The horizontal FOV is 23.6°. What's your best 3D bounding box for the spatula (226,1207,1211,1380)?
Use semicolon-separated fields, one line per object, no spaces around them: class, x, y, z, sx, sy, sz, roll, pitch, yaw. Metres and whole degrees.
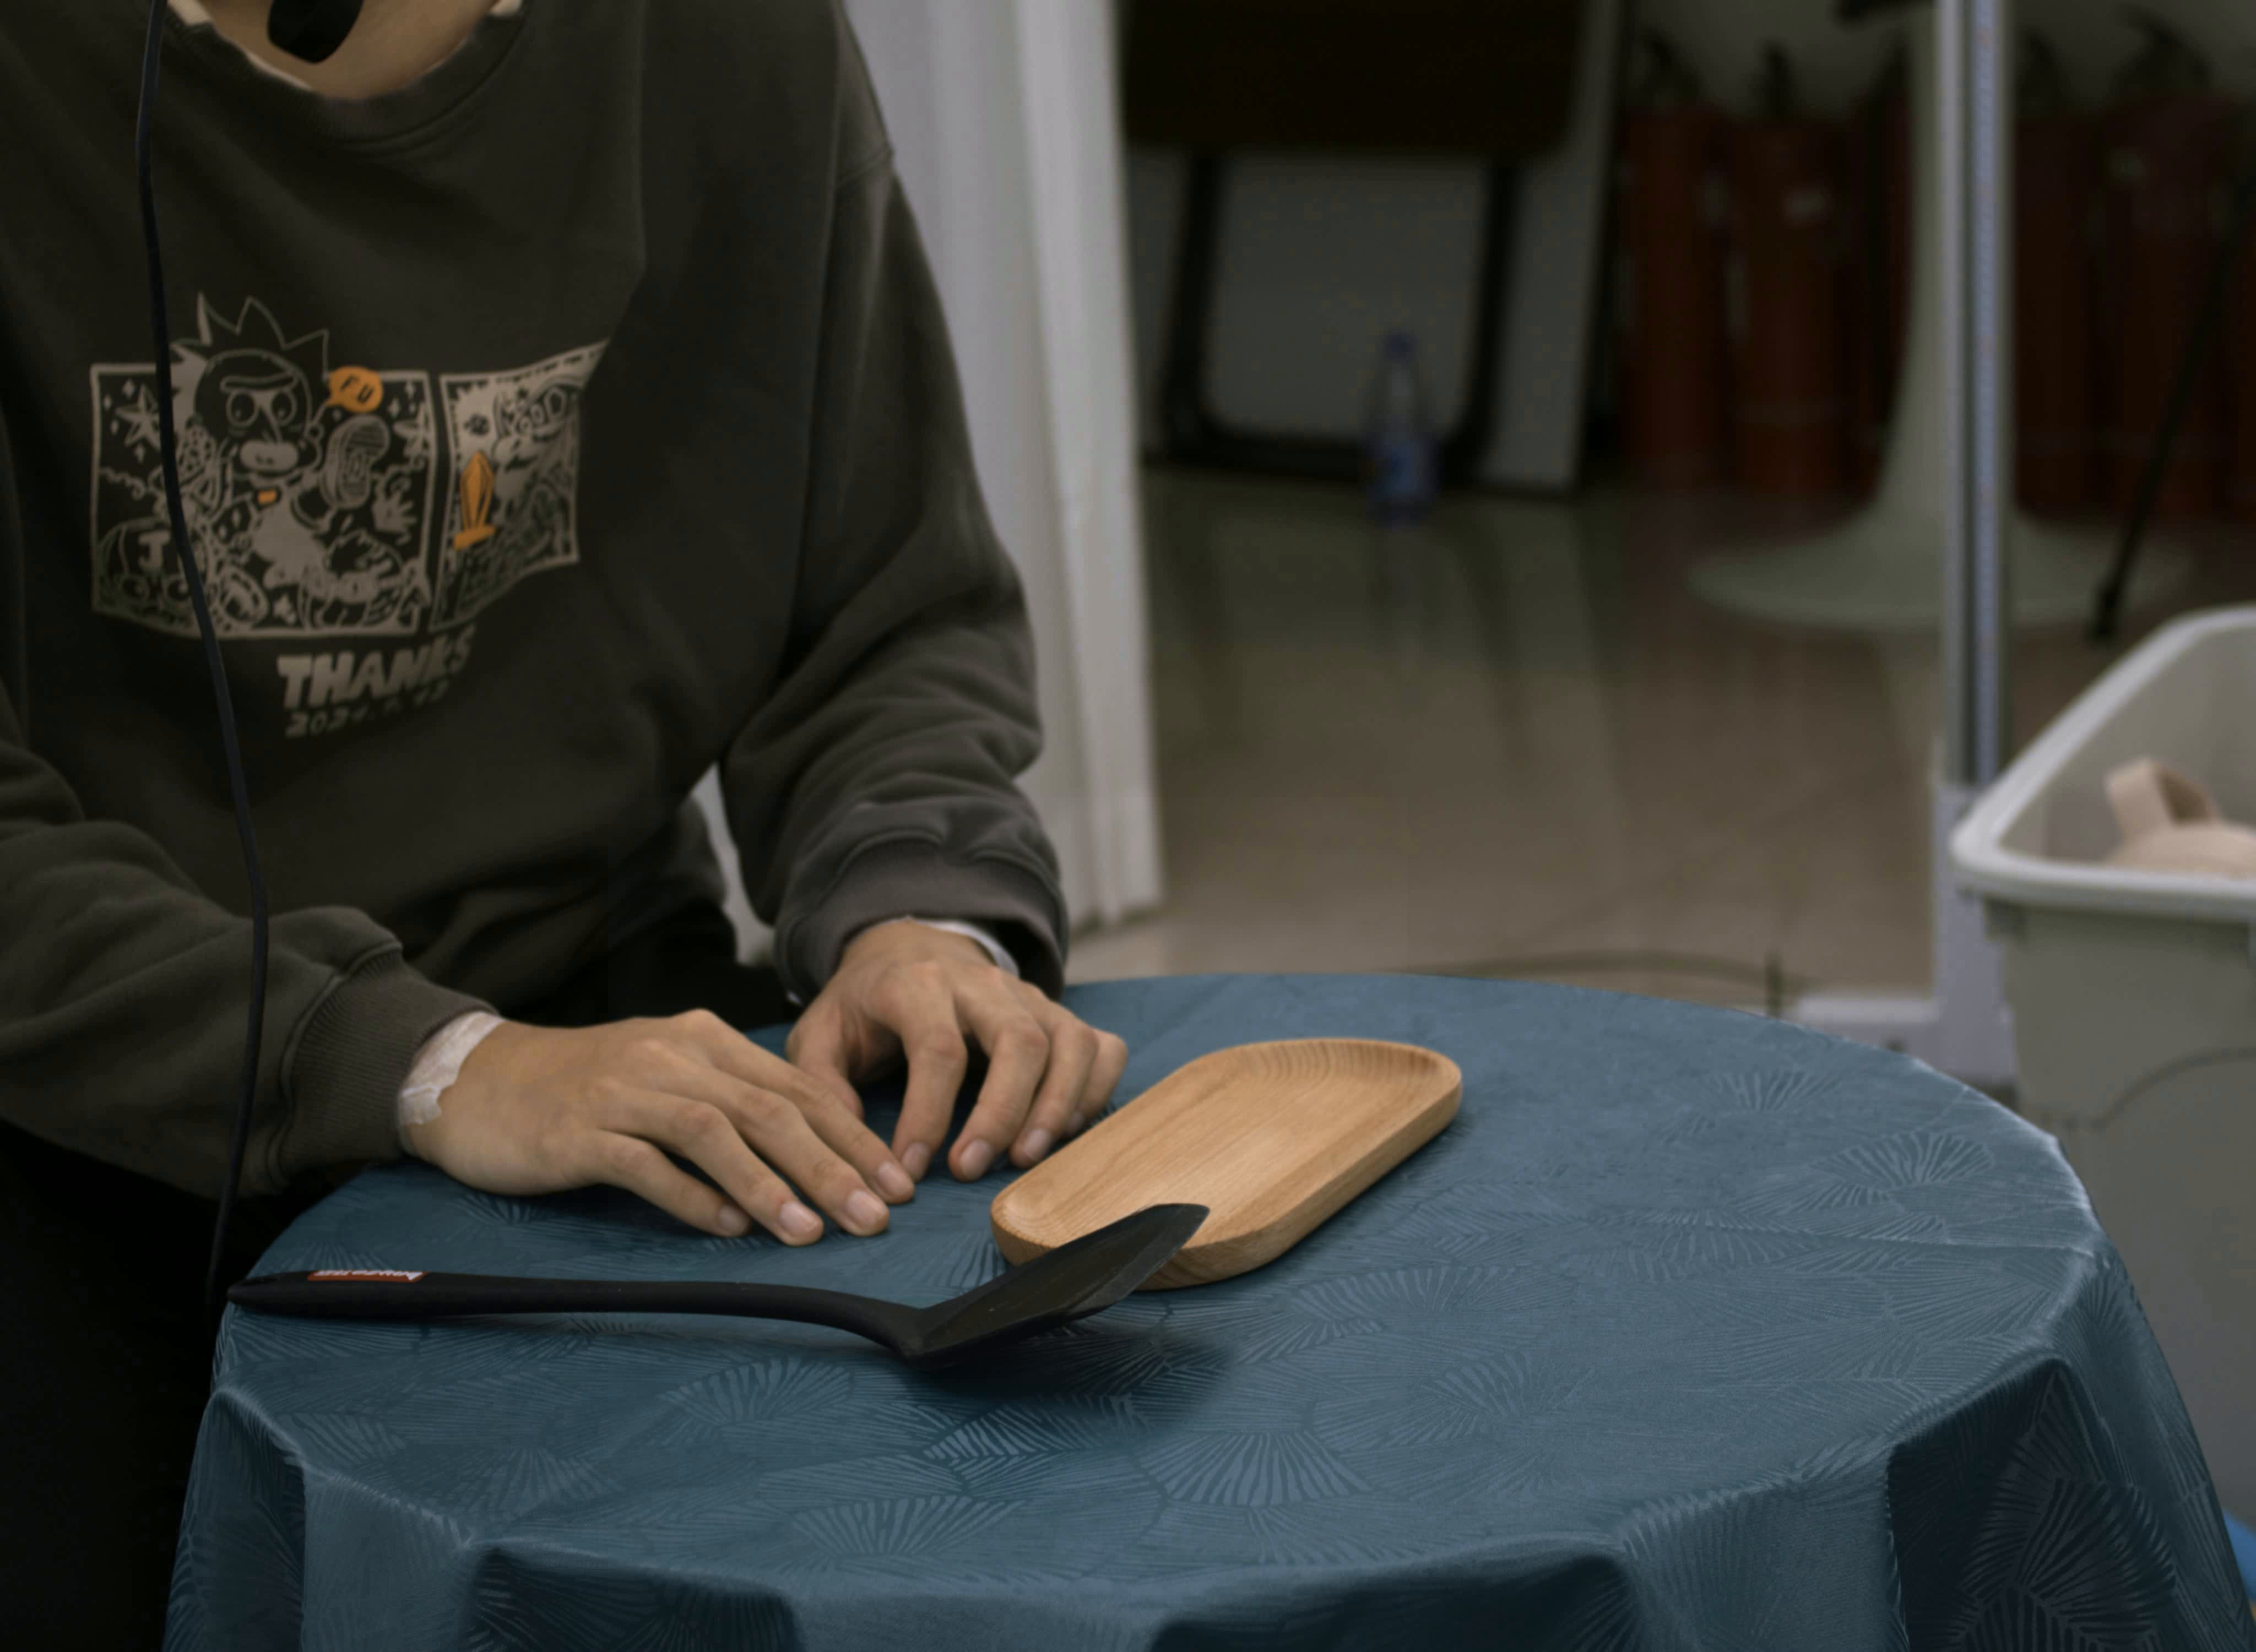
spatula;-0.134;0.141;1.657;0.326;0.041;0.098;1;13;22

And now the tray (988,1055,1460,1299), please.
tray;0.034;0.113;1.768;0.102;0.020;0.228;2;16;27
